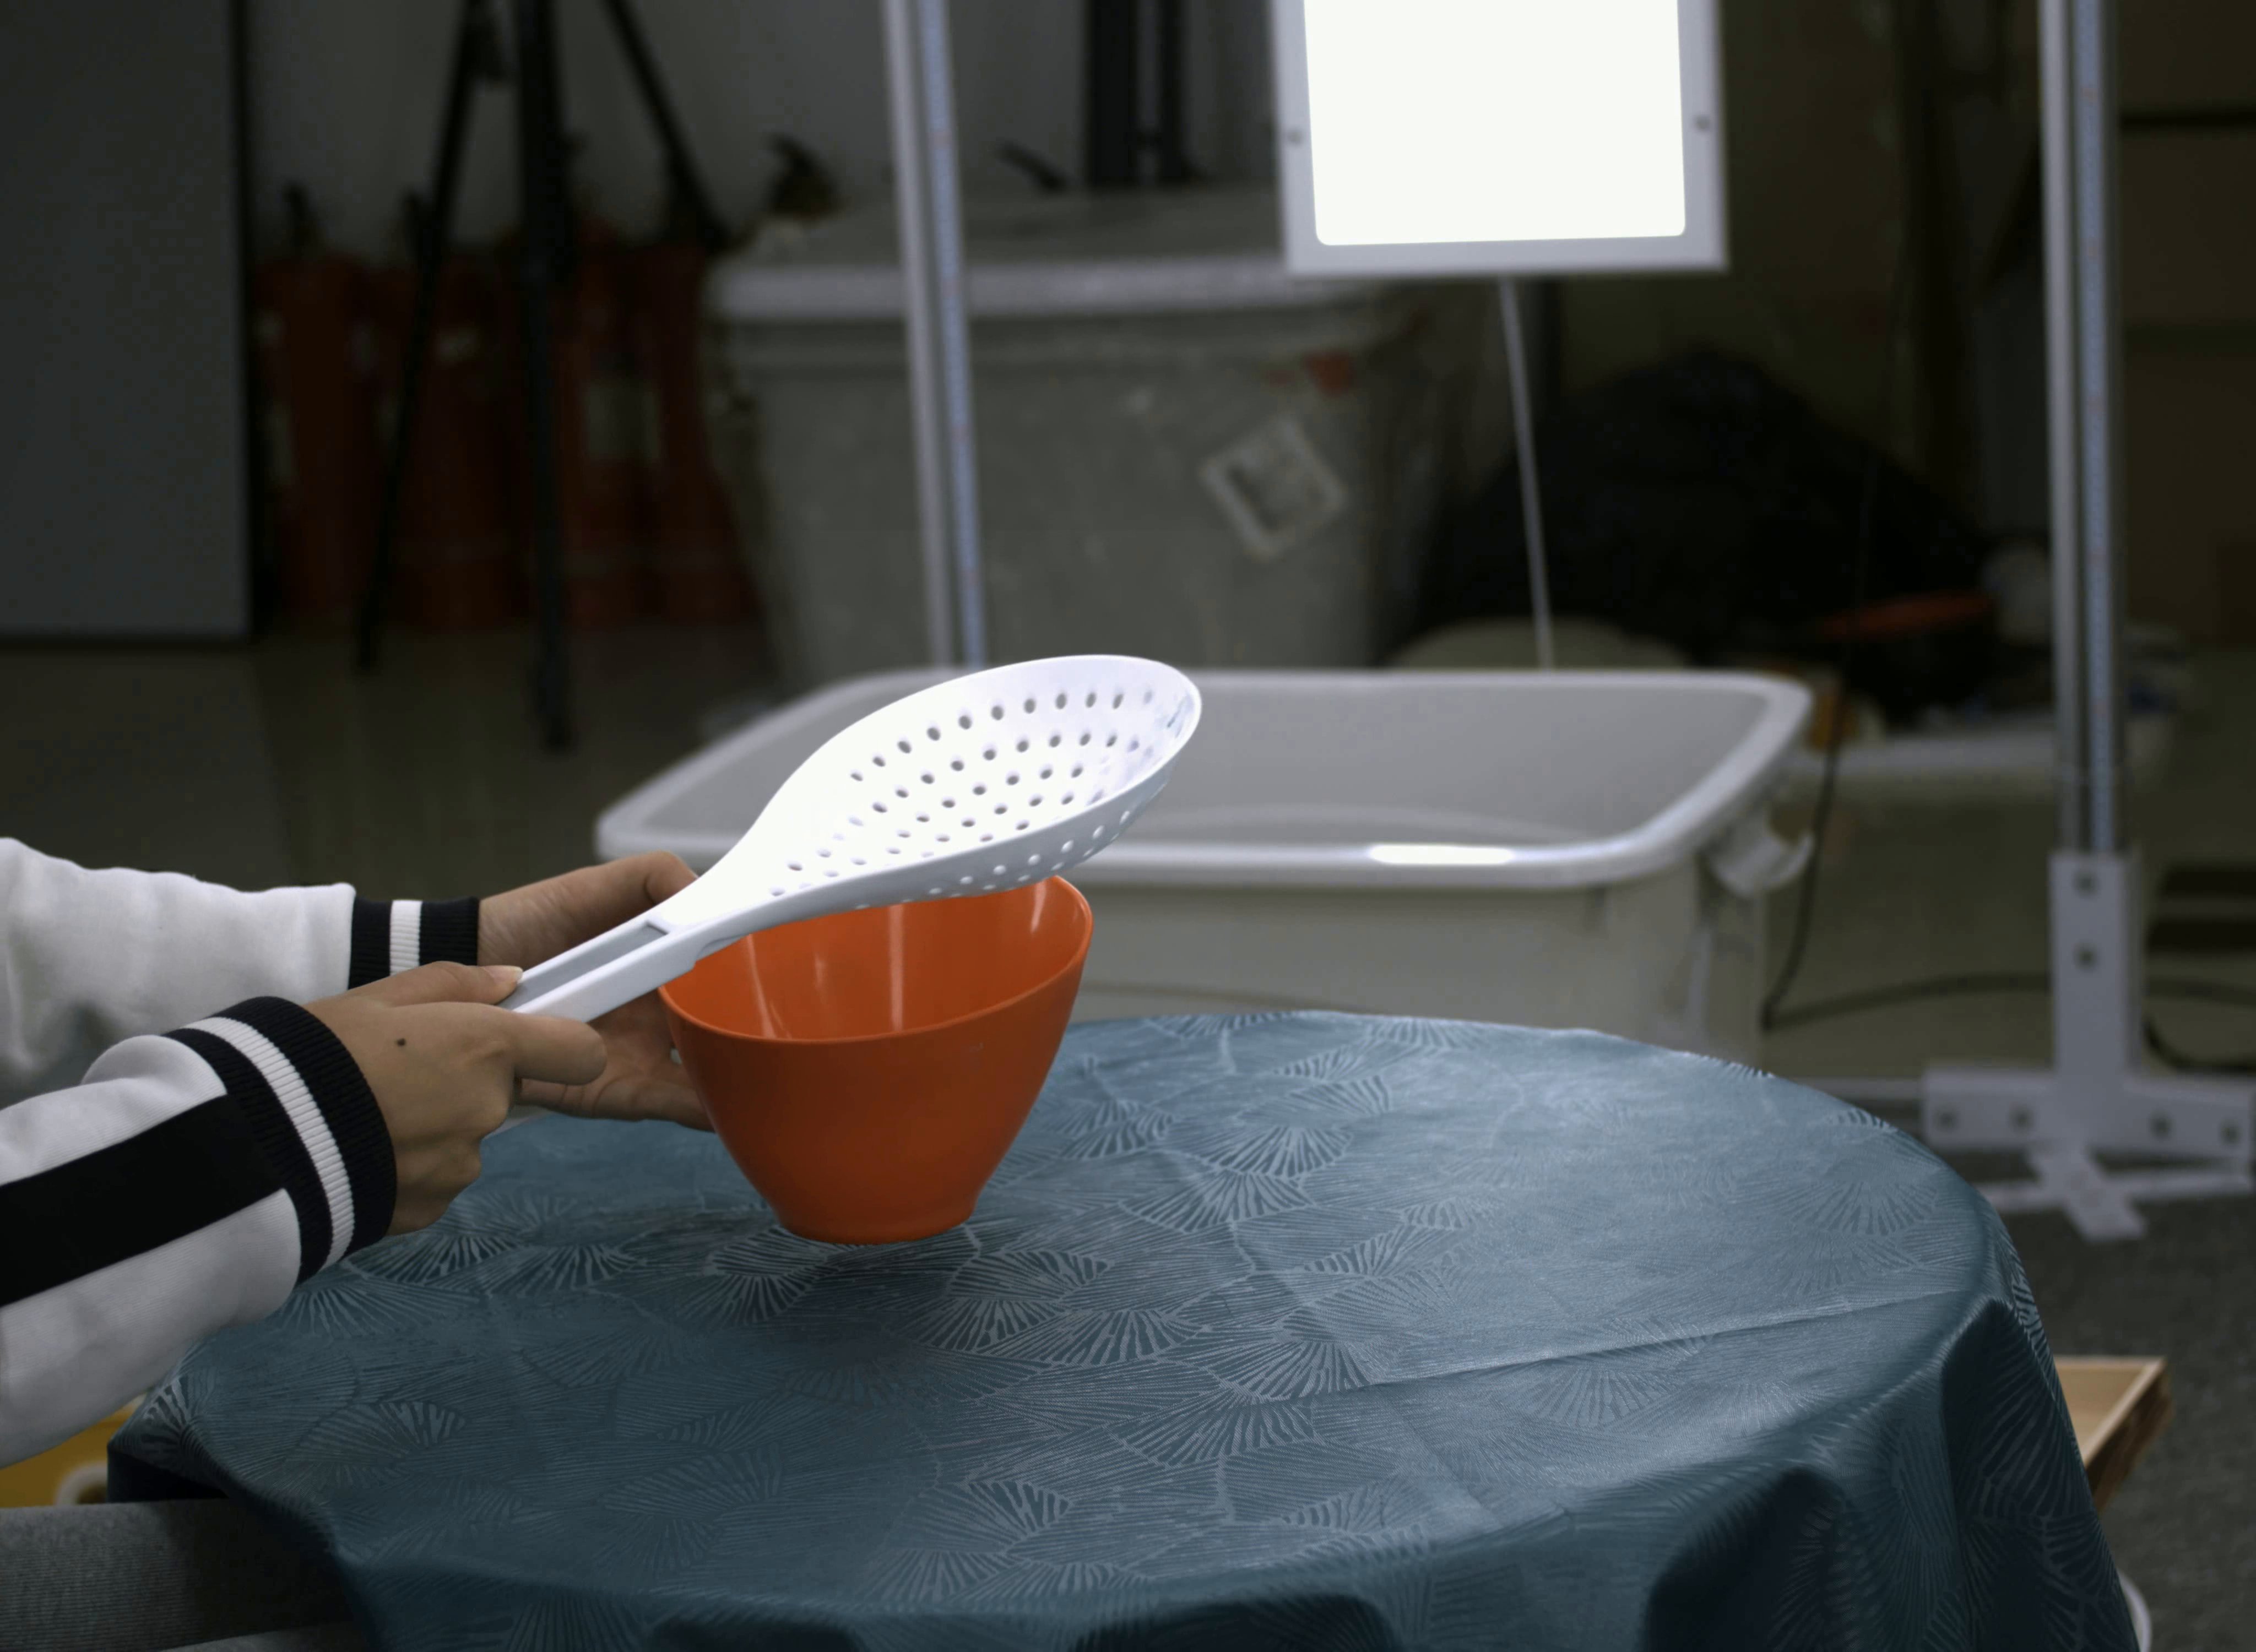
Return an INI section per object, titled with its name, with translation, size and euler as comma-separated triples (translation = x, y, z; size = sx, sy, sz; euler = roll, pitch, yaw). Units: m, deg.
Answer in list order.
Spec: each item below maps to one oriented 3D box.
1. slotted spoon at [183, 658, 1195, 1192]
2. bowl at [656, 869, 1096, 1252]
[slotted spoon]
translation = -0.130, 0.029, 1.686
size = 0.343, 0.046, 0.138
euler = -22, 24, -24
[bowl]
translation = -0.083, 0.080, 1.847
size = 0.147, 0.105, 0.148
euler = -2, 15, -1
